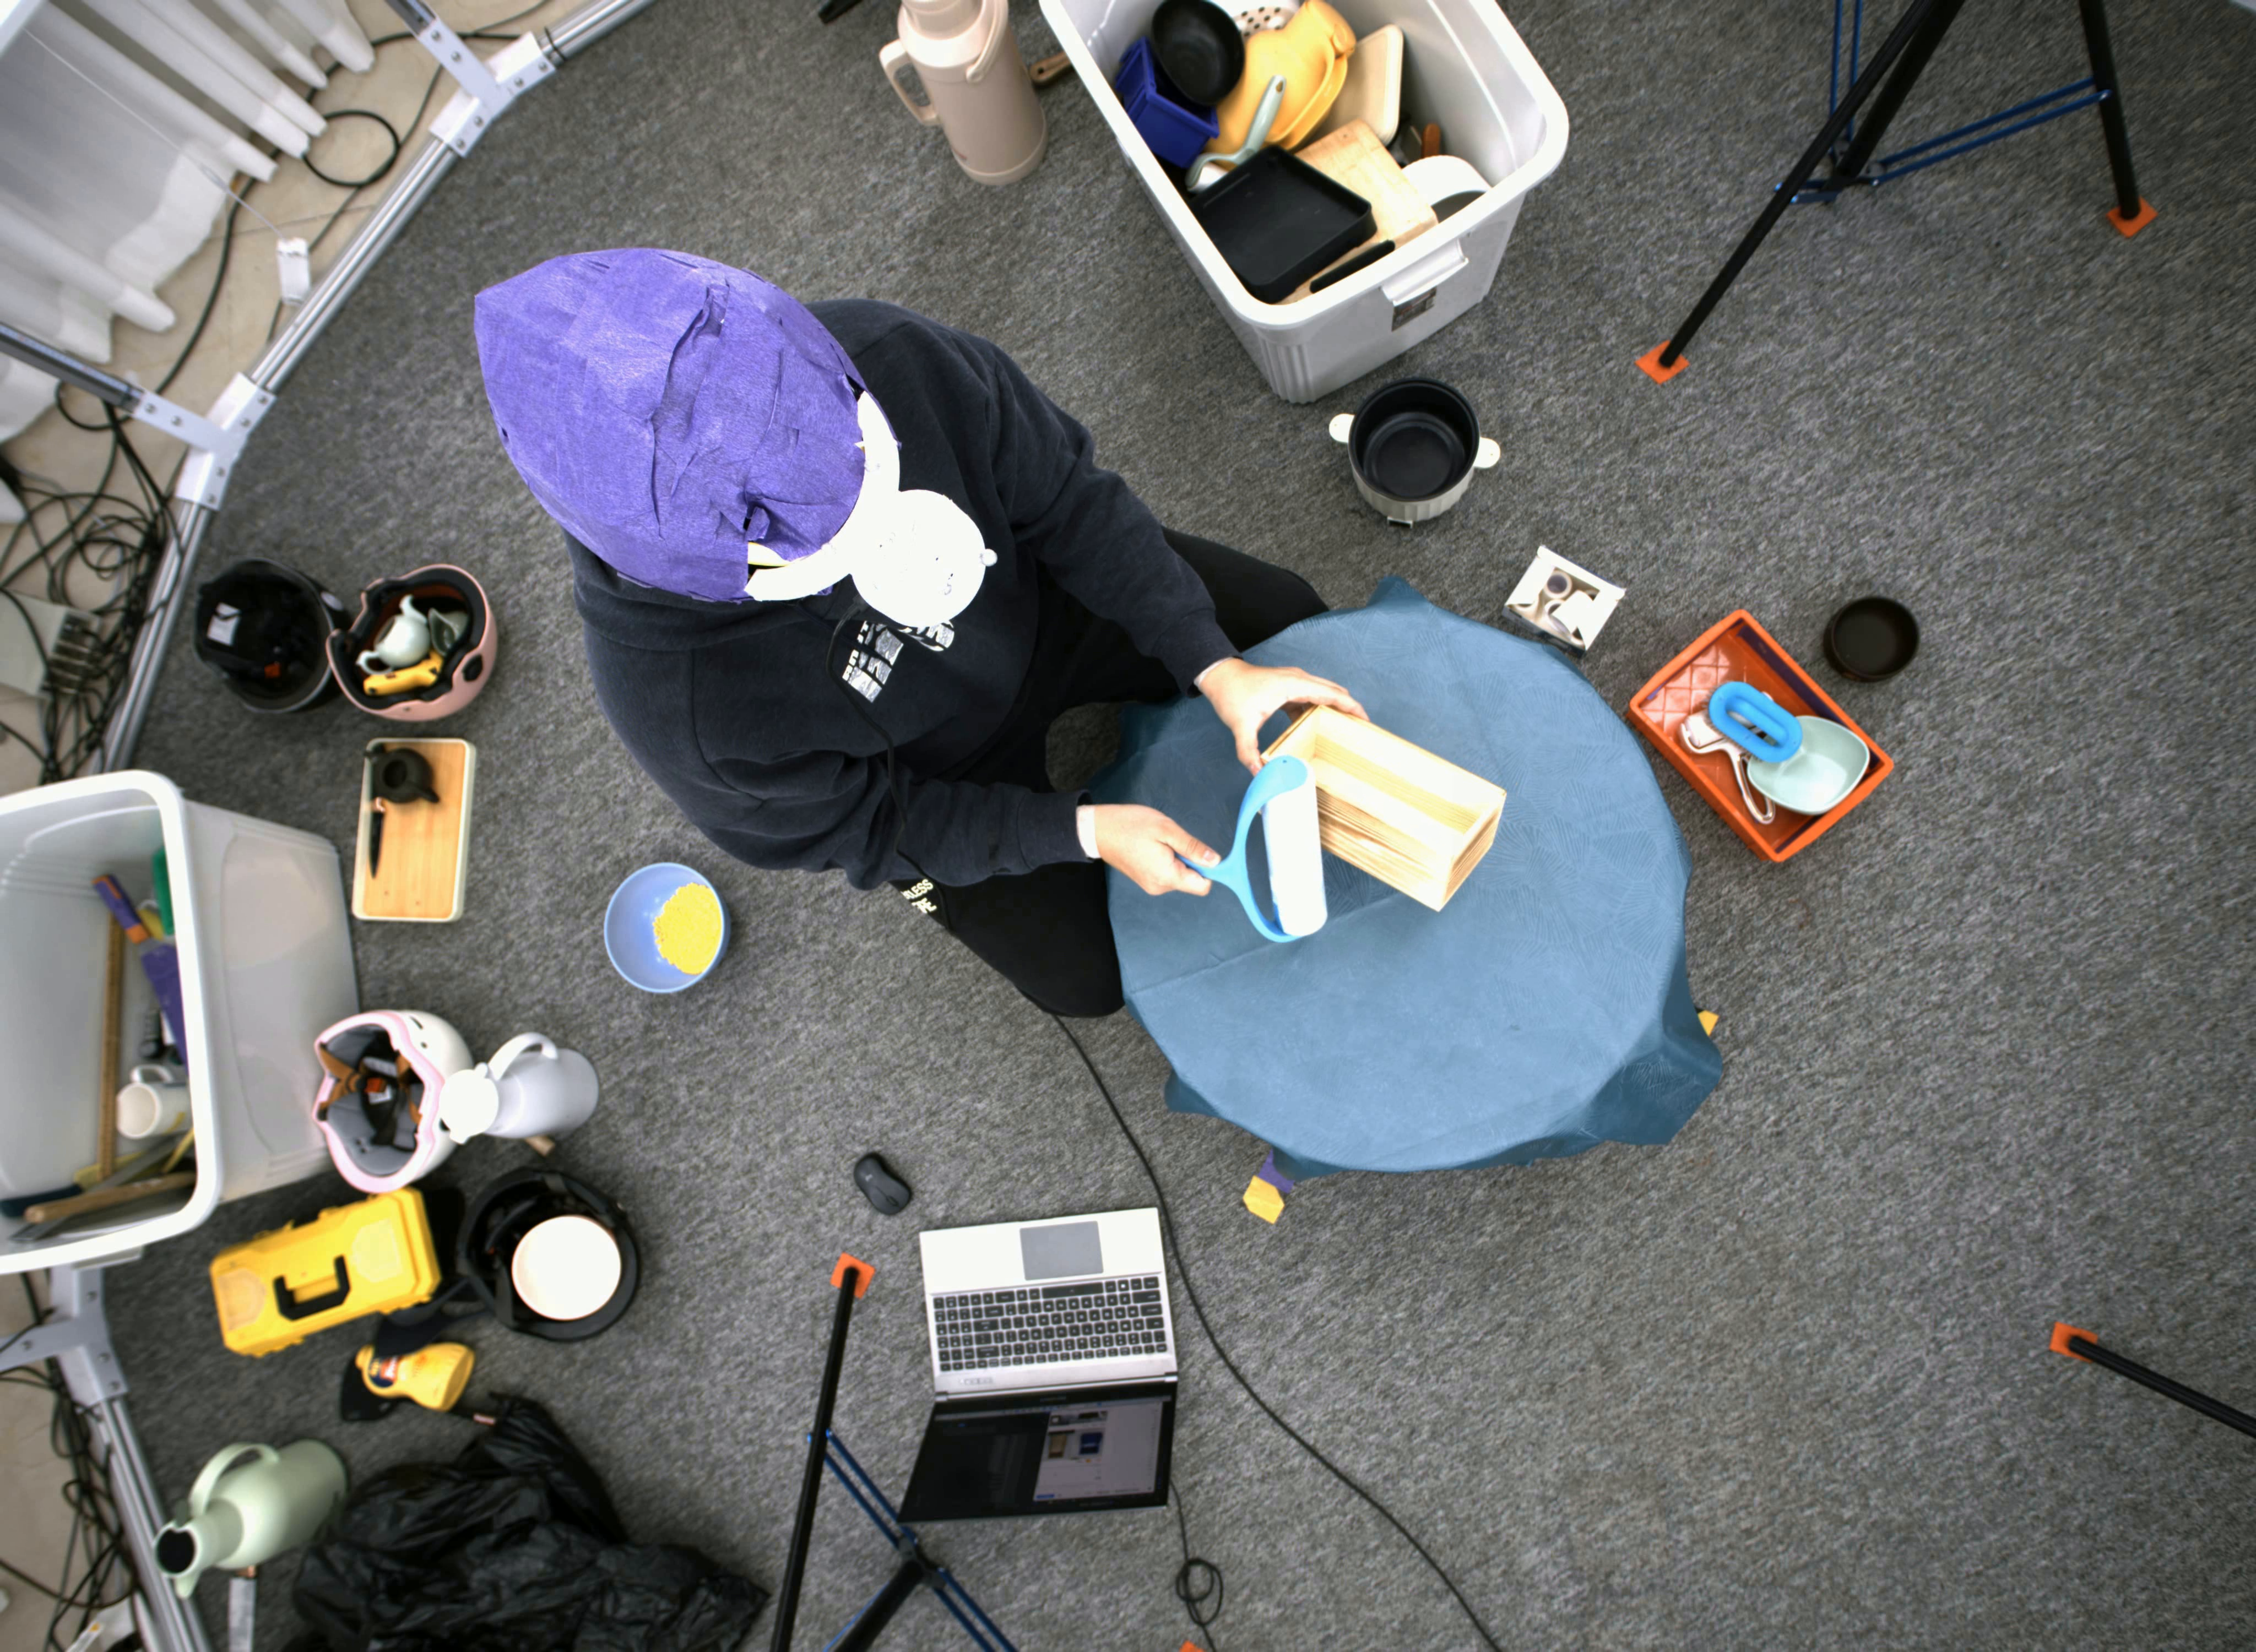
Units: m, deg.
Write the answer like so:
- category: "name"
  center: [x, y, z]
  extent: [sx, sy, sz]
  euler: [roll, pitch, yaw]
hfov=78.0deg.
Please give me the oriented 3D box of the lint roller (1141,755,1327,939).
- category: "lint roller"
  center: [0.101, 0.026, 1.347]
  extent: [0.181, 0.234, 0.066]
  euler: [-5, 47, 11]

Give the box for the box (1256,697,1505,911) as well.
- category: "box"
  center: [0.239, -0.026, 1.333]
  extent: [0.210, 0.082, 0.105]
  euler: [30, 57, 24]
